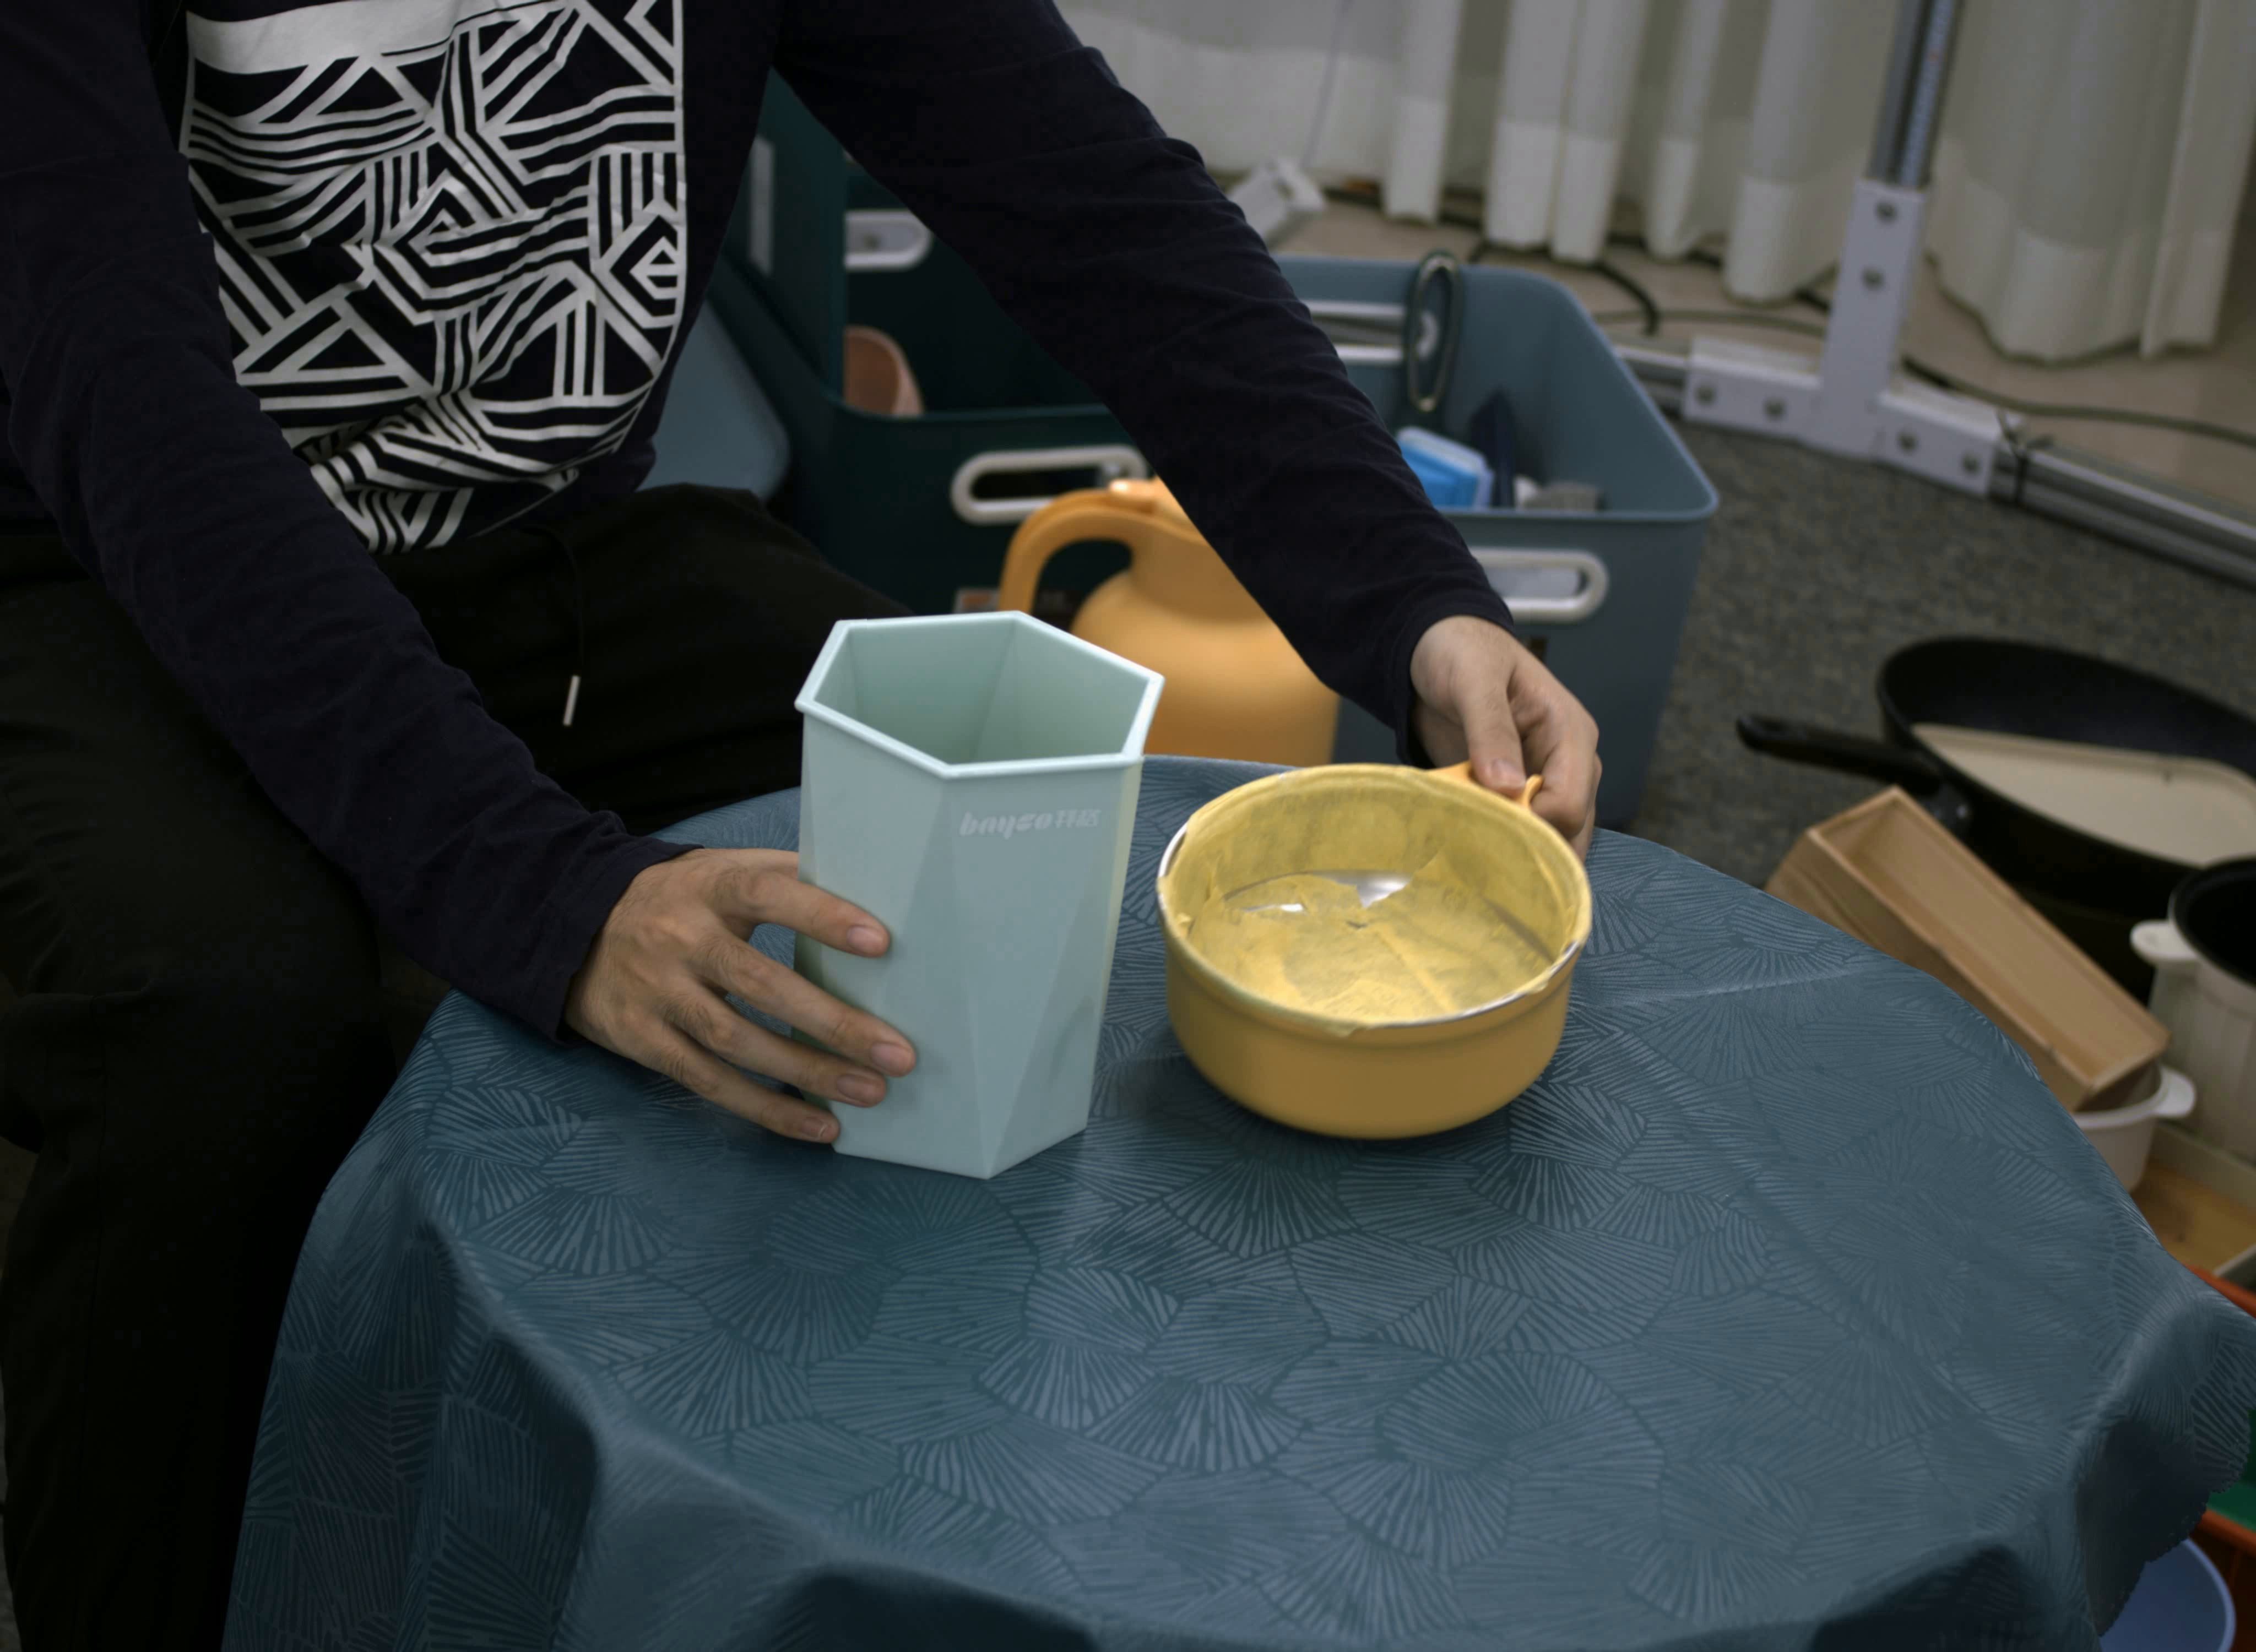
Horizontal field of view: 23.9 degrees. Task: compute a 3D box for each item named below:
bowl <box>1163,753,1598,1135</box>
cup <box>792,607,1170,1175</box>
[{"bbox_3d":[0.095,0.040,1.888,0.153,0.074,0.179,17,39,23],"label":"bowl"},{"bbox_3d":[-0.055,0.024,1.810,0.130,0.162,0.116,-4,27,-22],"label":"cup"}]
